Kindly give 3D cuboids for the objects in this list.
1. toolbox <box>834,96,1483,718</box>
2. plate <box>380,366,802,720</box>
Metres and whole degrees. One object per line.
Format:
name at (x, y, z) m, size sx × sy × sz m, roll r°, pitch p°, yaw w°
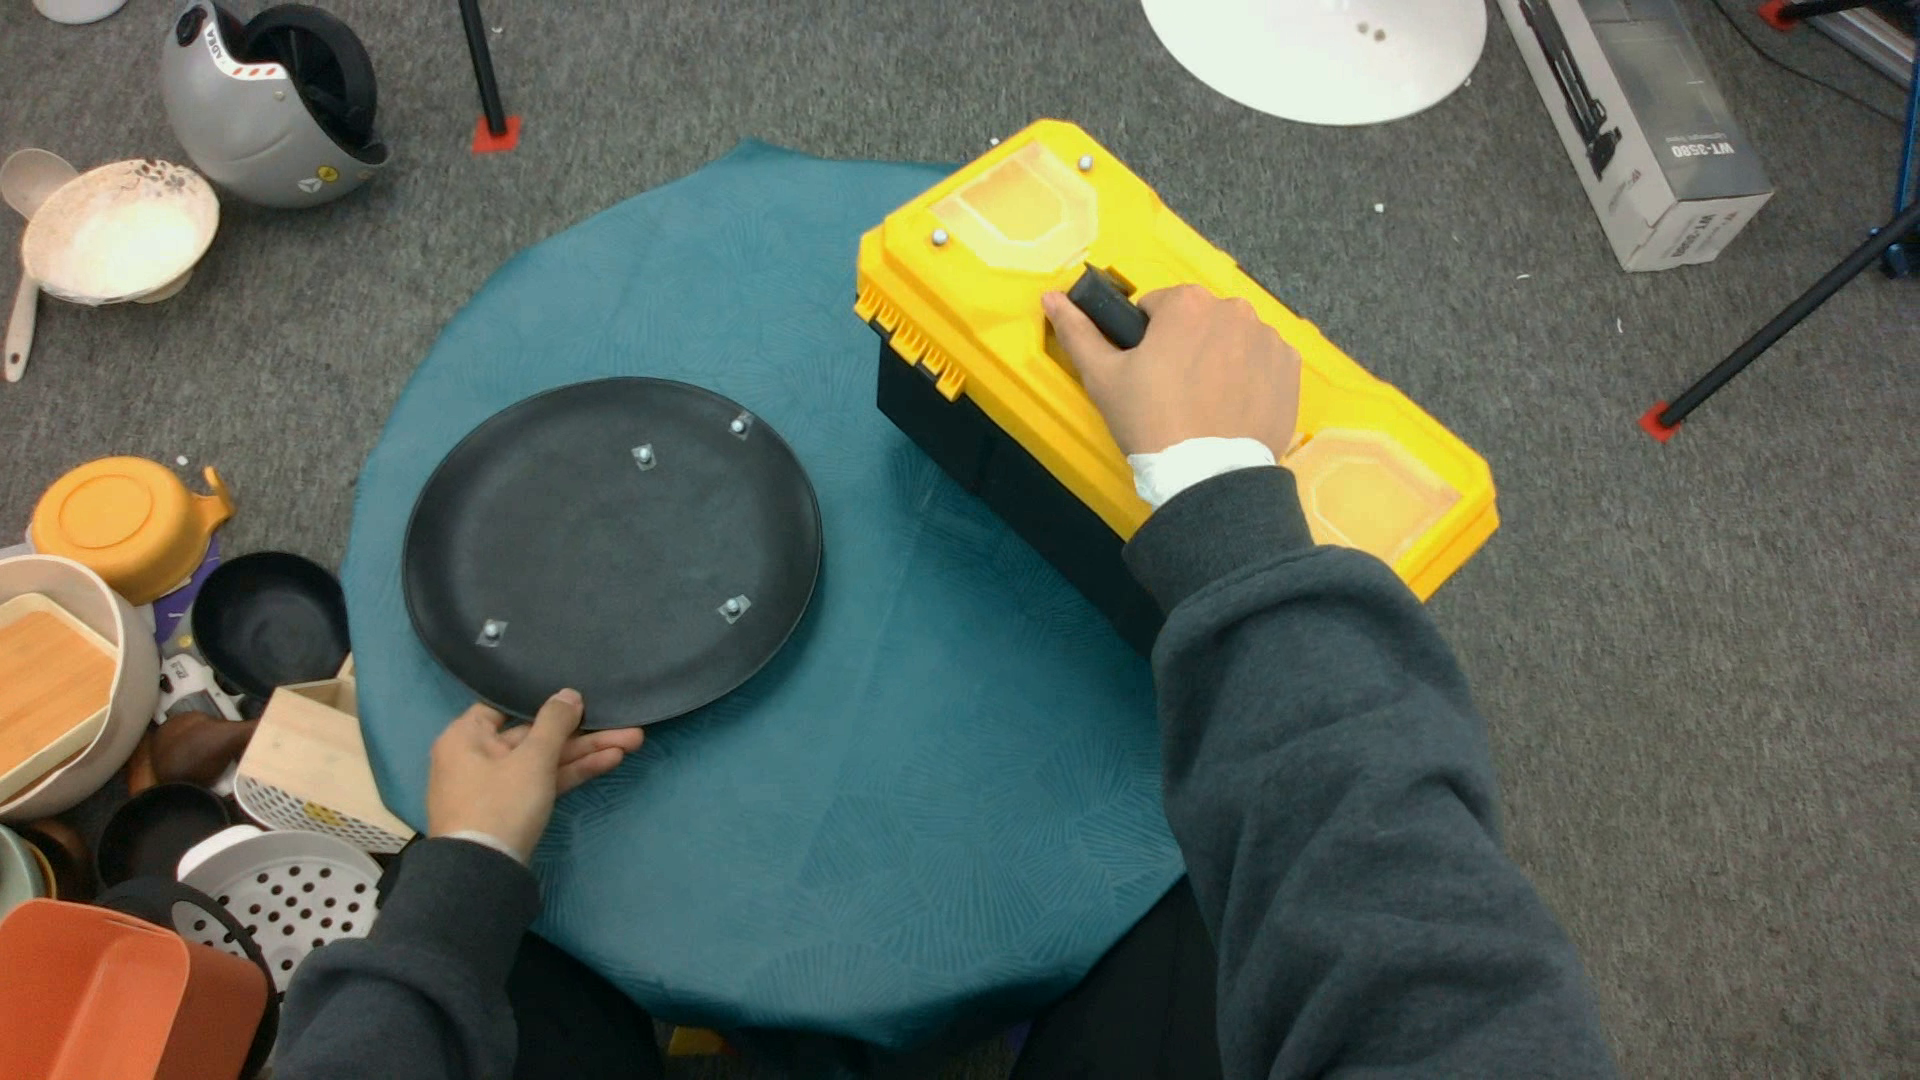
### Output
toolbox at (0.097, -0.072, 0.781) m, size 0.182 × 0.172 × 0.351 m, roll -40°, pitch 74°, yaw -24°
plate at (-0.217, -0.001, 0.827) m, size 0.244 × 0.023 × 0.245 m, roll 3°, pitch 59°, yaw -5°
